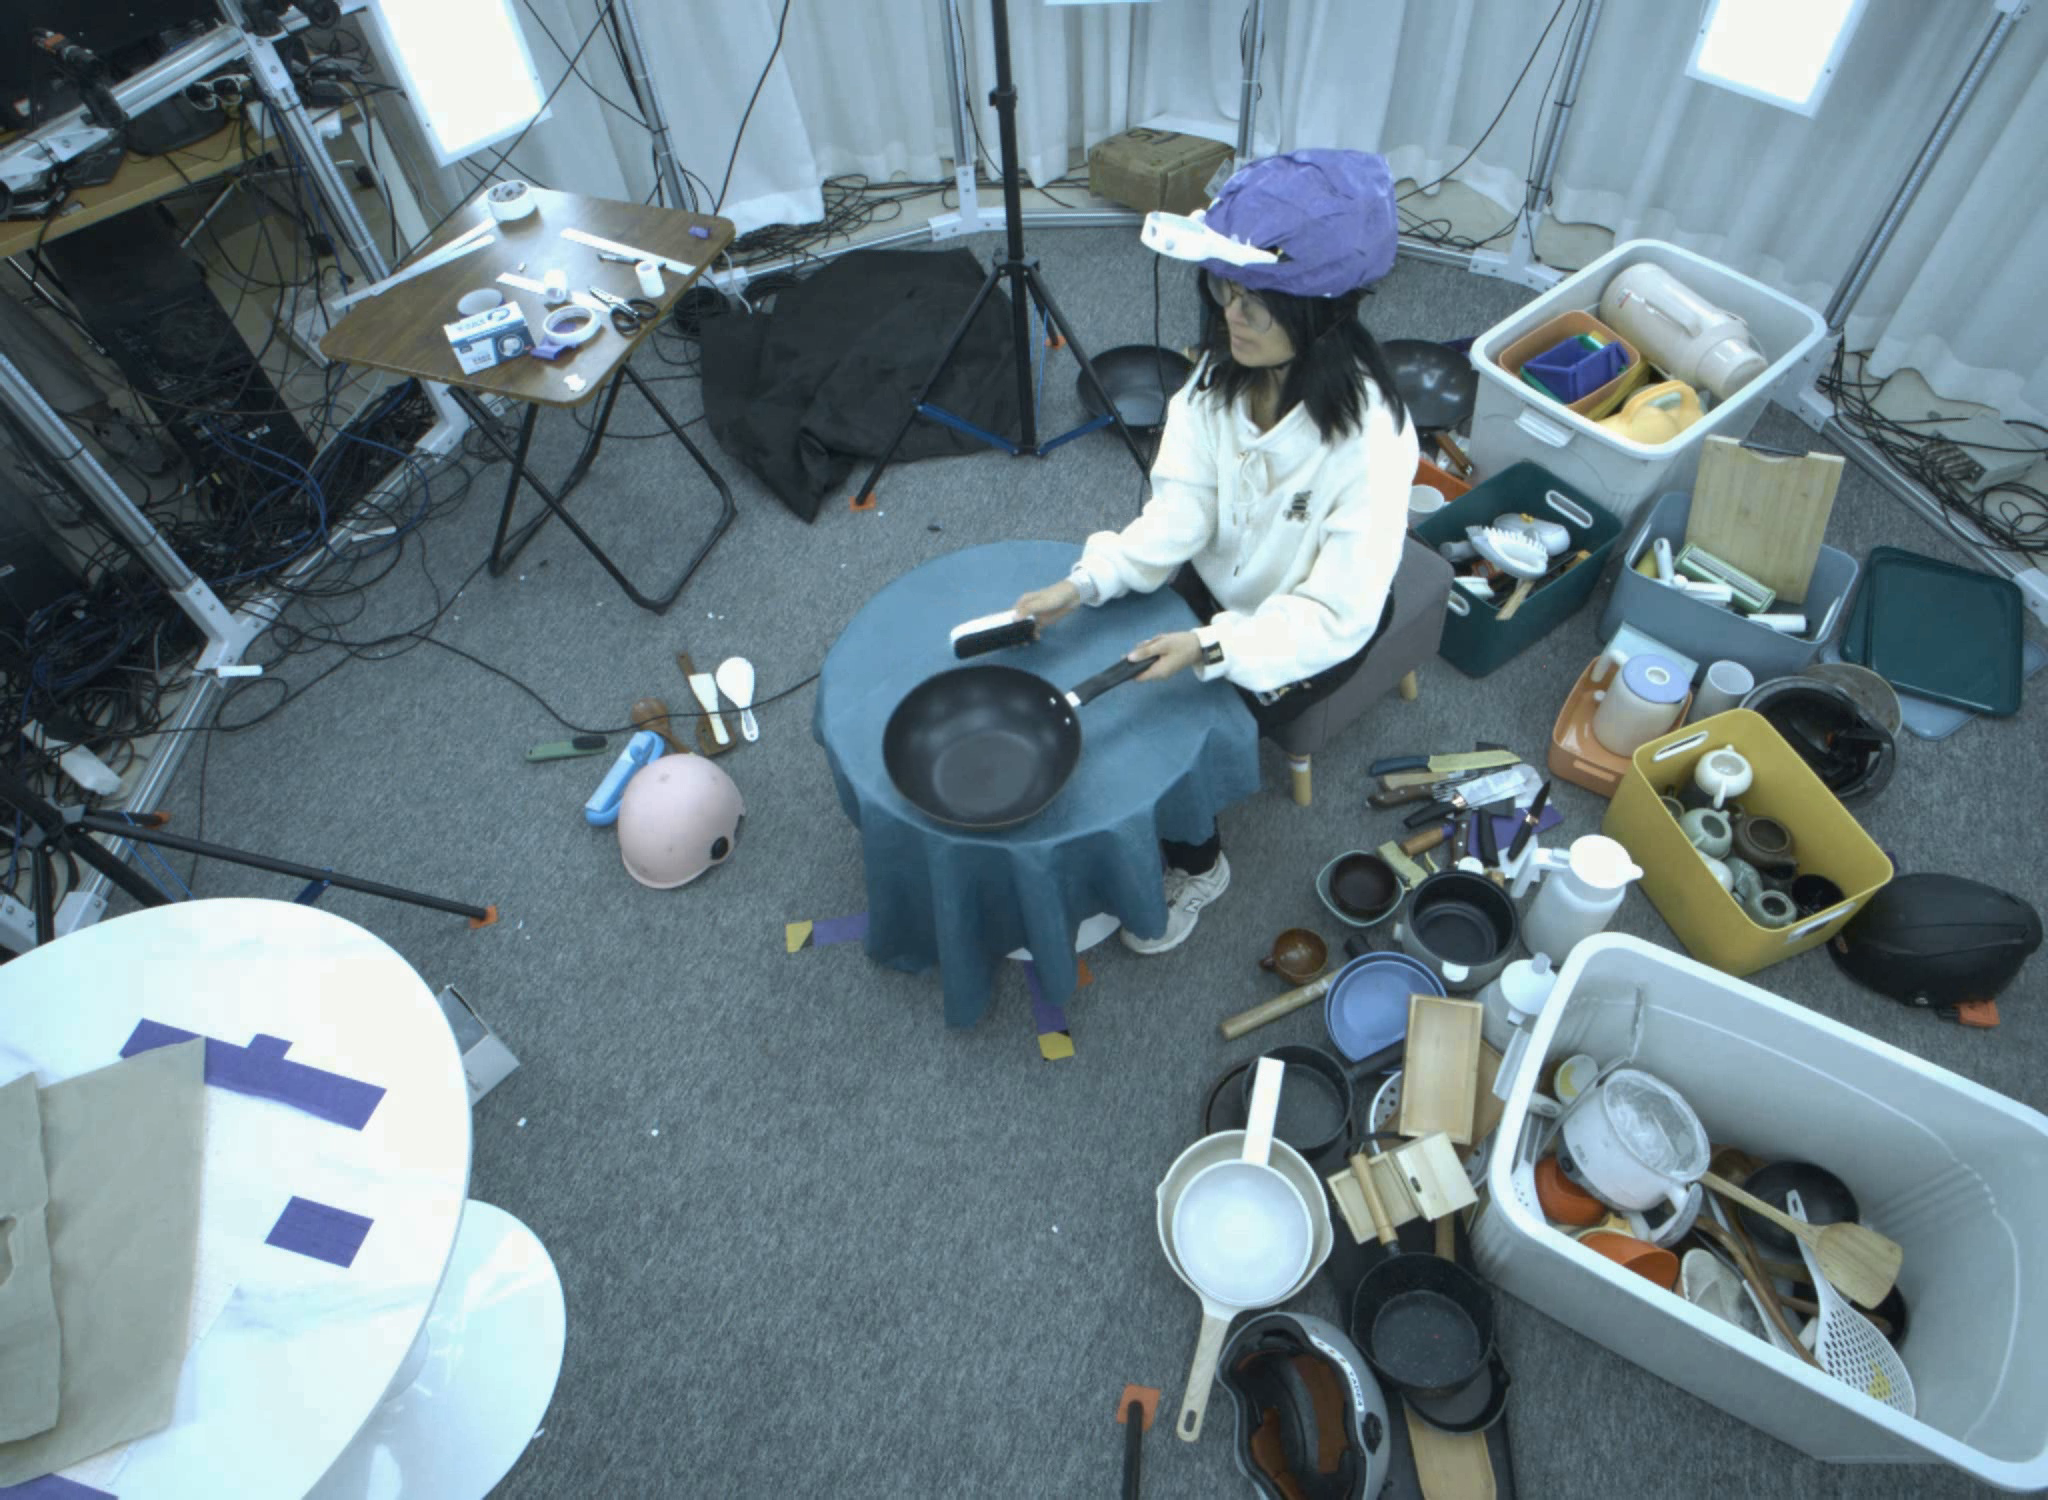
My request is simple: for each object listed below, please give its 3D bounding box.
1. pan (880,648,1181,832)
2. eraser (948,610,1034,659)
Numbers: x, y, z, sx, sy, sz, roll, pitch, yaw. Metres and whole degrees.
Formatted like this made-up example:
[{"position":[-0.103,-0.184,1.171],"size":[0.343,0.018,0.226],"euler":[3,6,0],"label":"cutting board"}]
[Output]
[{"position":[0.020,-0.030,1.758],"size":[0.467,0.088,0.283],"euler":[-26,59,-17],"label":"pan"},{"position":[-0.050,-0.177,1.849],"size":[0.132,0.063,0.034],"euler":[-18,75,-14],"label":"eraser"}]
